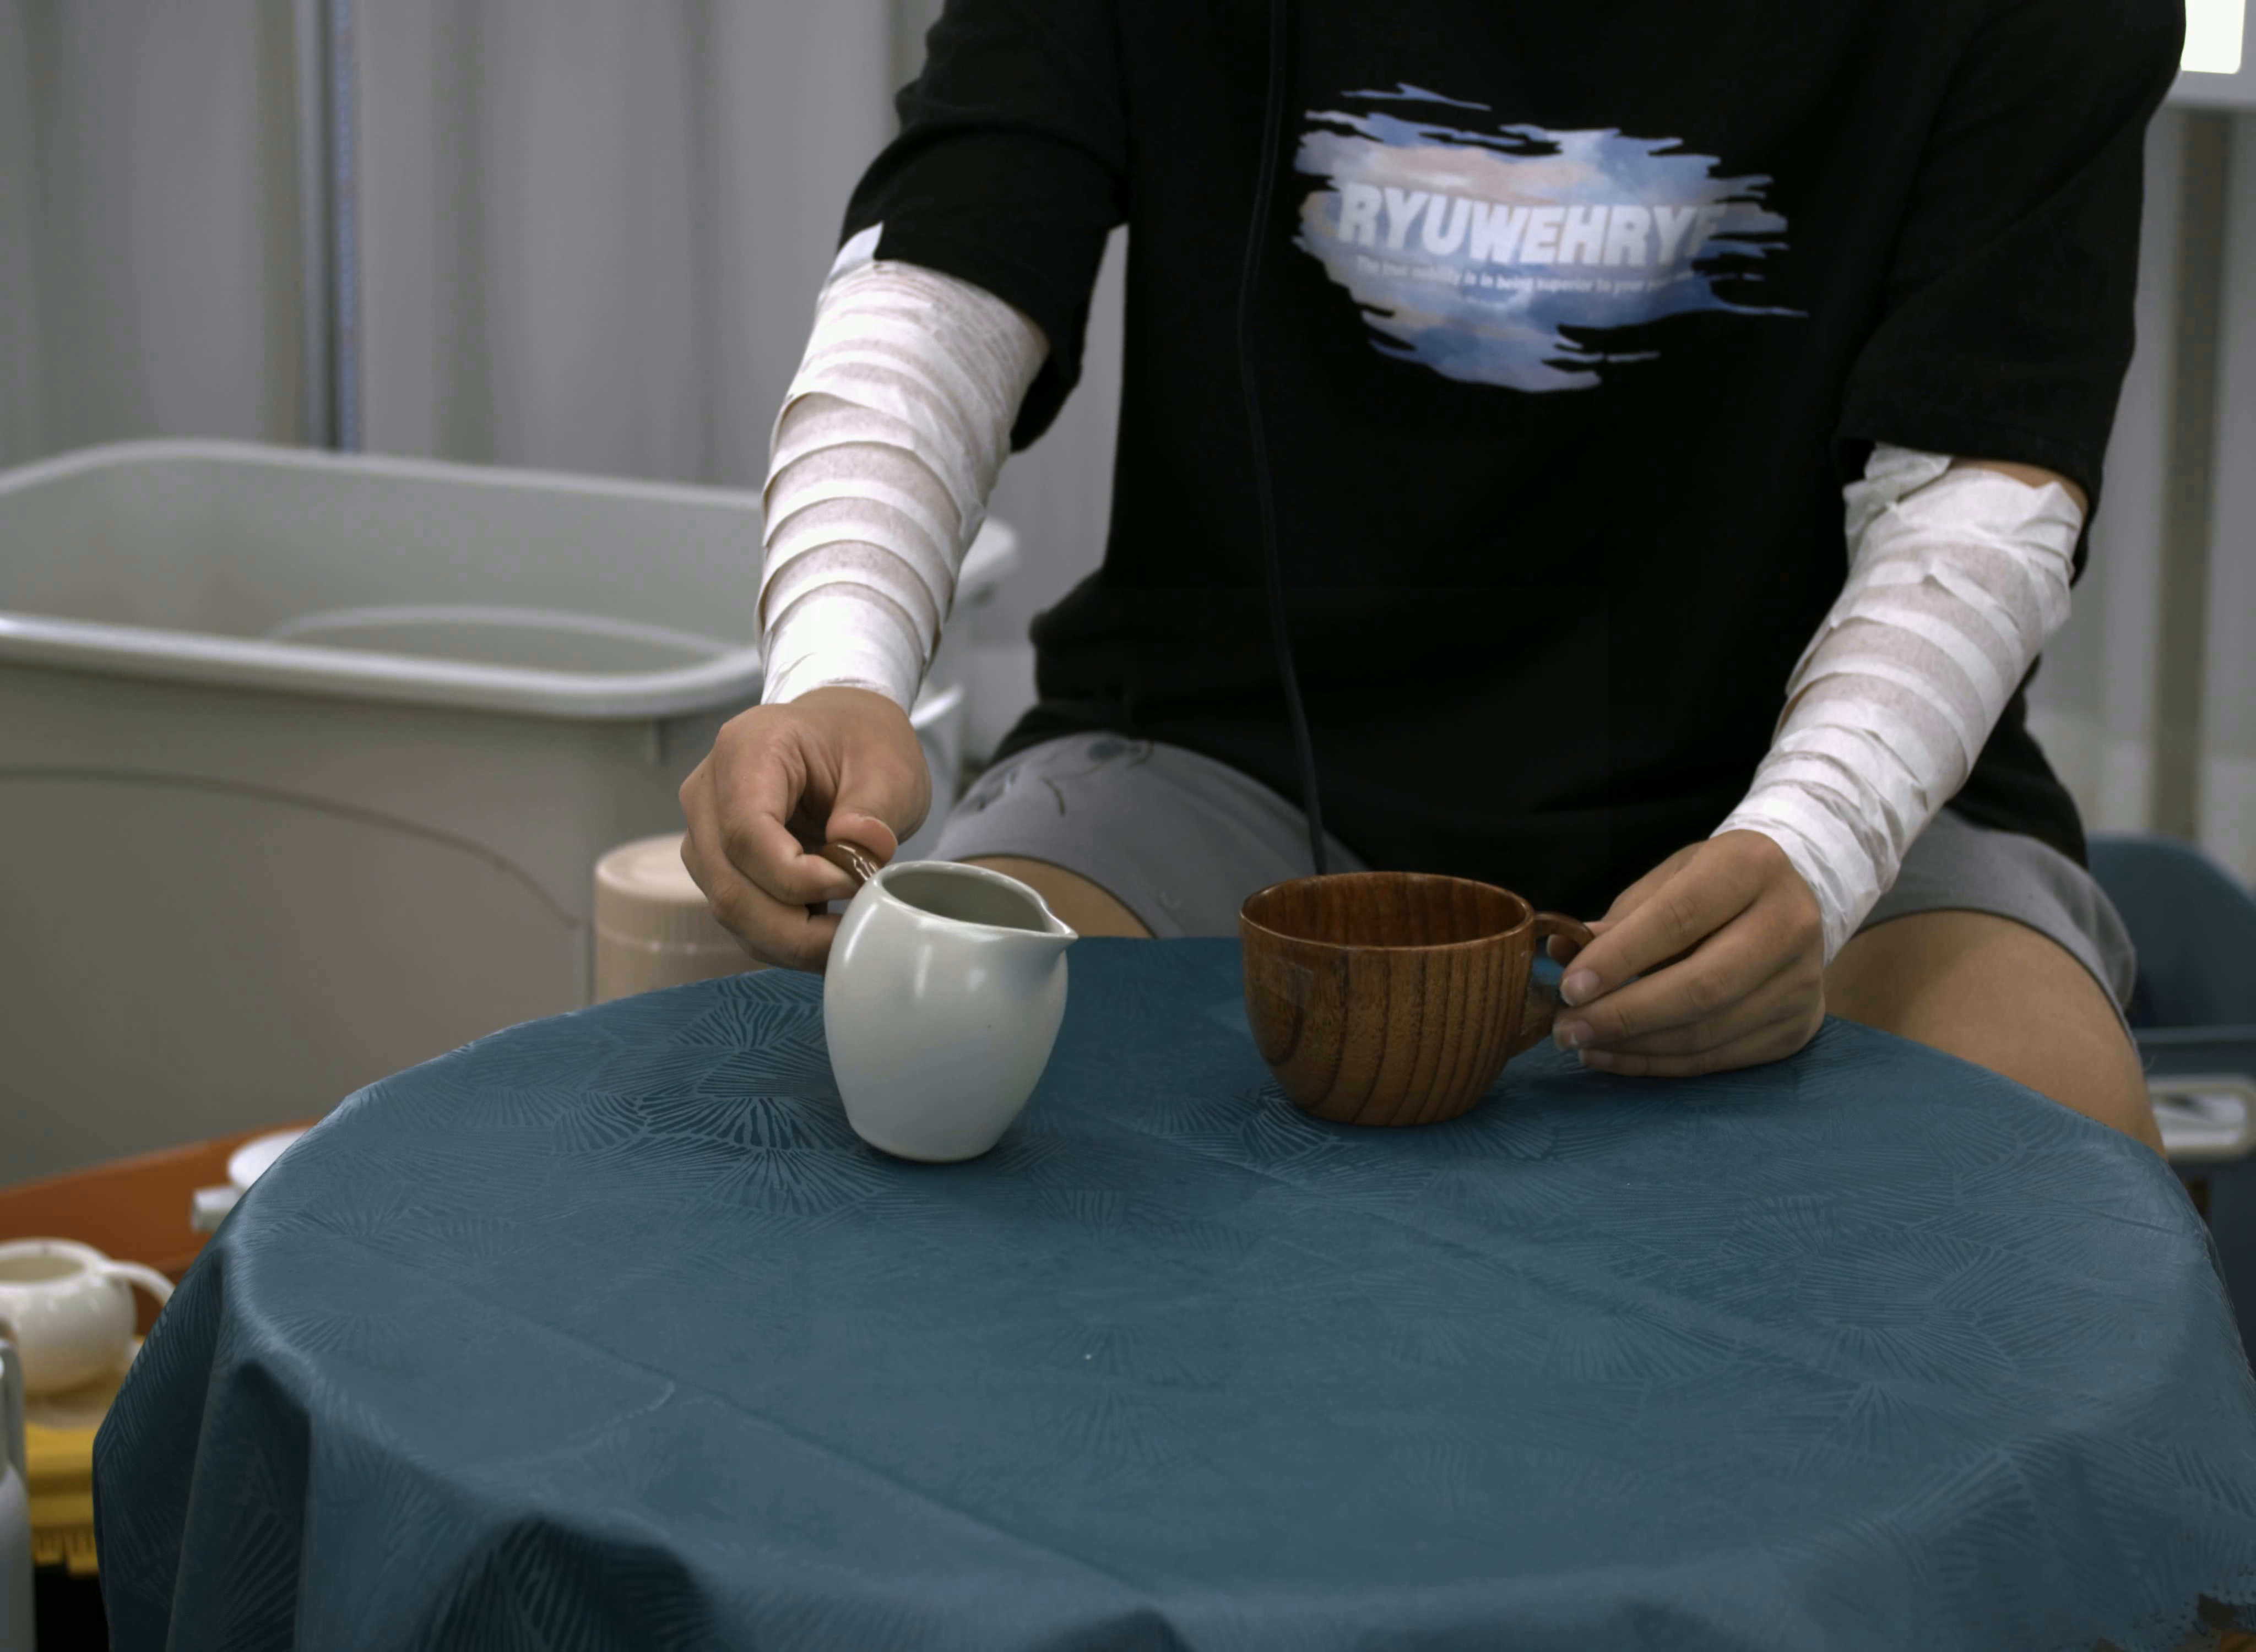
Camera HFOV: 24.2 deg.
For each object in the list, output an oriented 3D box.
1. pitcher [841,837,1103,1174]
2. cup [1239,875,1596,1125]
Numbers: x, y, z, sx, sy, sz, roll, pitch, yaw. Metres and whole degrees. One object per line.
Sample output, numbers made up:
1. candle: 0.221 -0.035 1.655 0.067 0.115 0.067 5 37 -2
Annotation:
1. pitcher: -0.057 0.057 1.645 0.076 0.088 0.117 -2 26 -42
2. cup: 0.095 0.058 1.706 0.119 0.068 0.095 -1 12 -13
